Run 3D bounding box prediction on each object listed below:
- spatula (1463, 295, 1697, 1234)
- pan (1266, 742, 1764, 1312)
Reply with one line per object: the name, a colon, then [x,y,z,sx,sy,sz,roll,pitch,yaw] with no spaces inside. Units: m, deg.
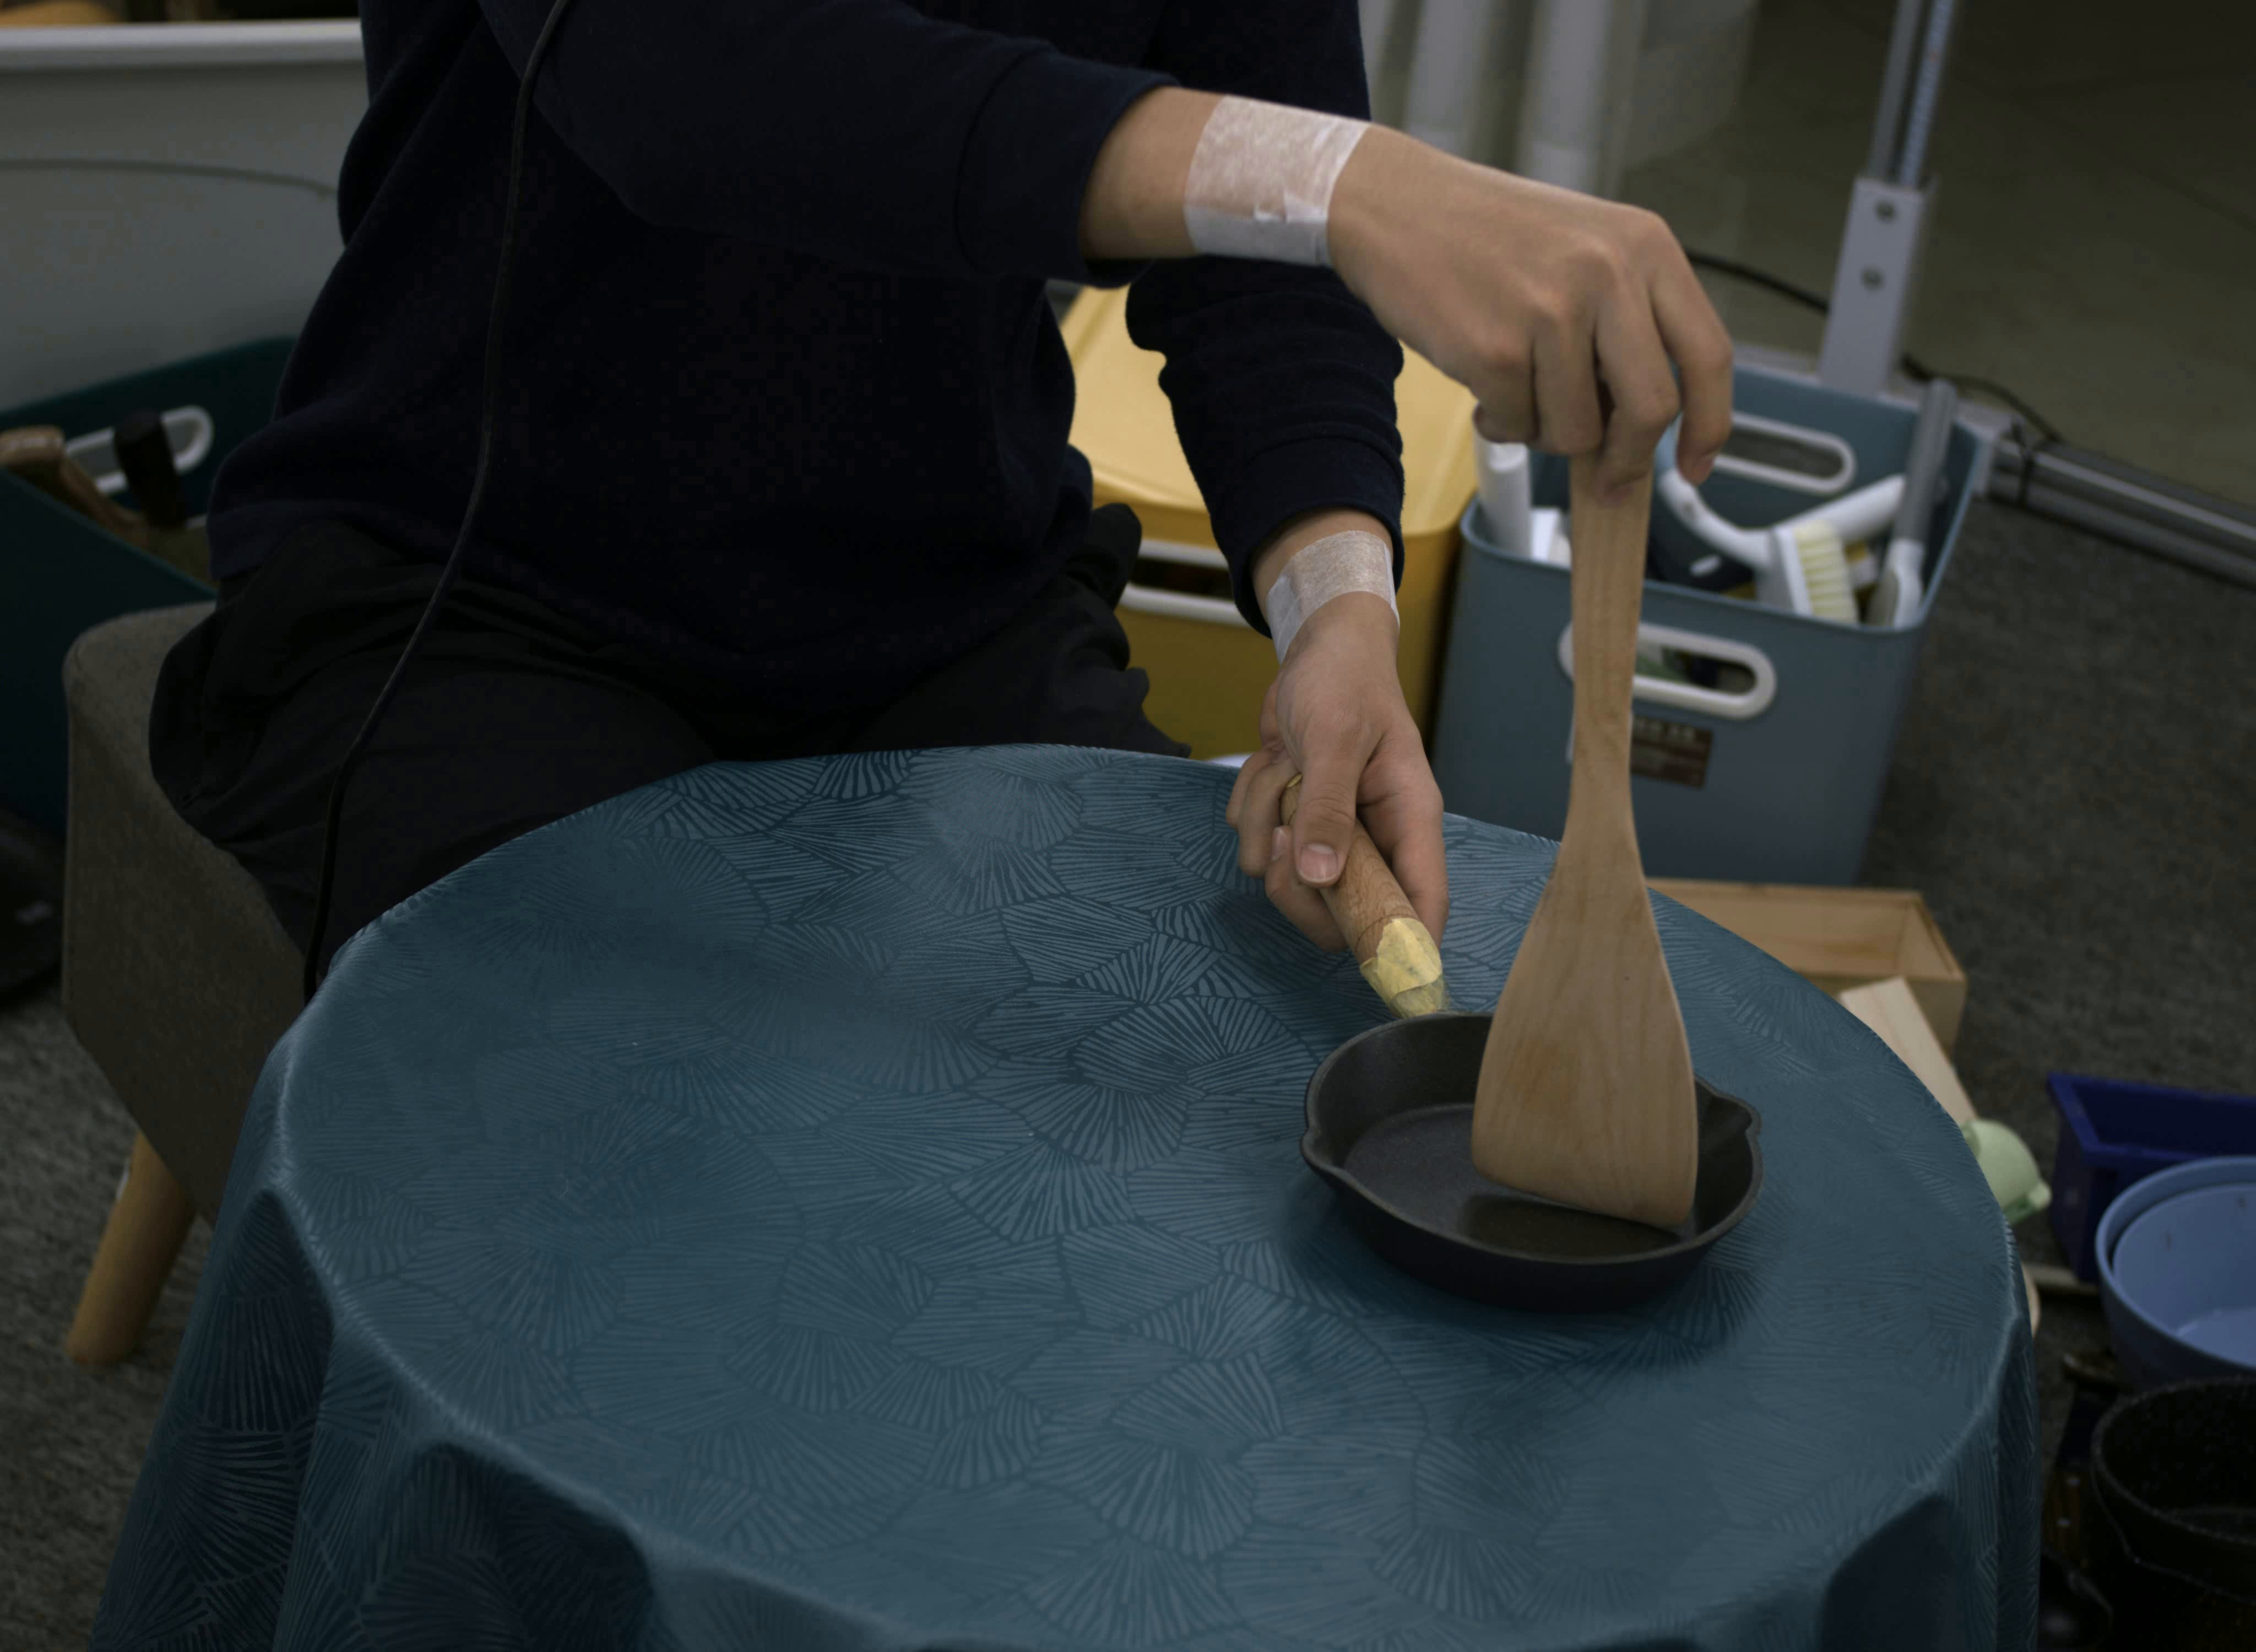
spatula: [0.154,-0.016,1.757,0.080,0.327,0.016,5,19,13]
pan: [0.111,0.068,1.872,0.168,0.049,0.327,-3,31,-19]
